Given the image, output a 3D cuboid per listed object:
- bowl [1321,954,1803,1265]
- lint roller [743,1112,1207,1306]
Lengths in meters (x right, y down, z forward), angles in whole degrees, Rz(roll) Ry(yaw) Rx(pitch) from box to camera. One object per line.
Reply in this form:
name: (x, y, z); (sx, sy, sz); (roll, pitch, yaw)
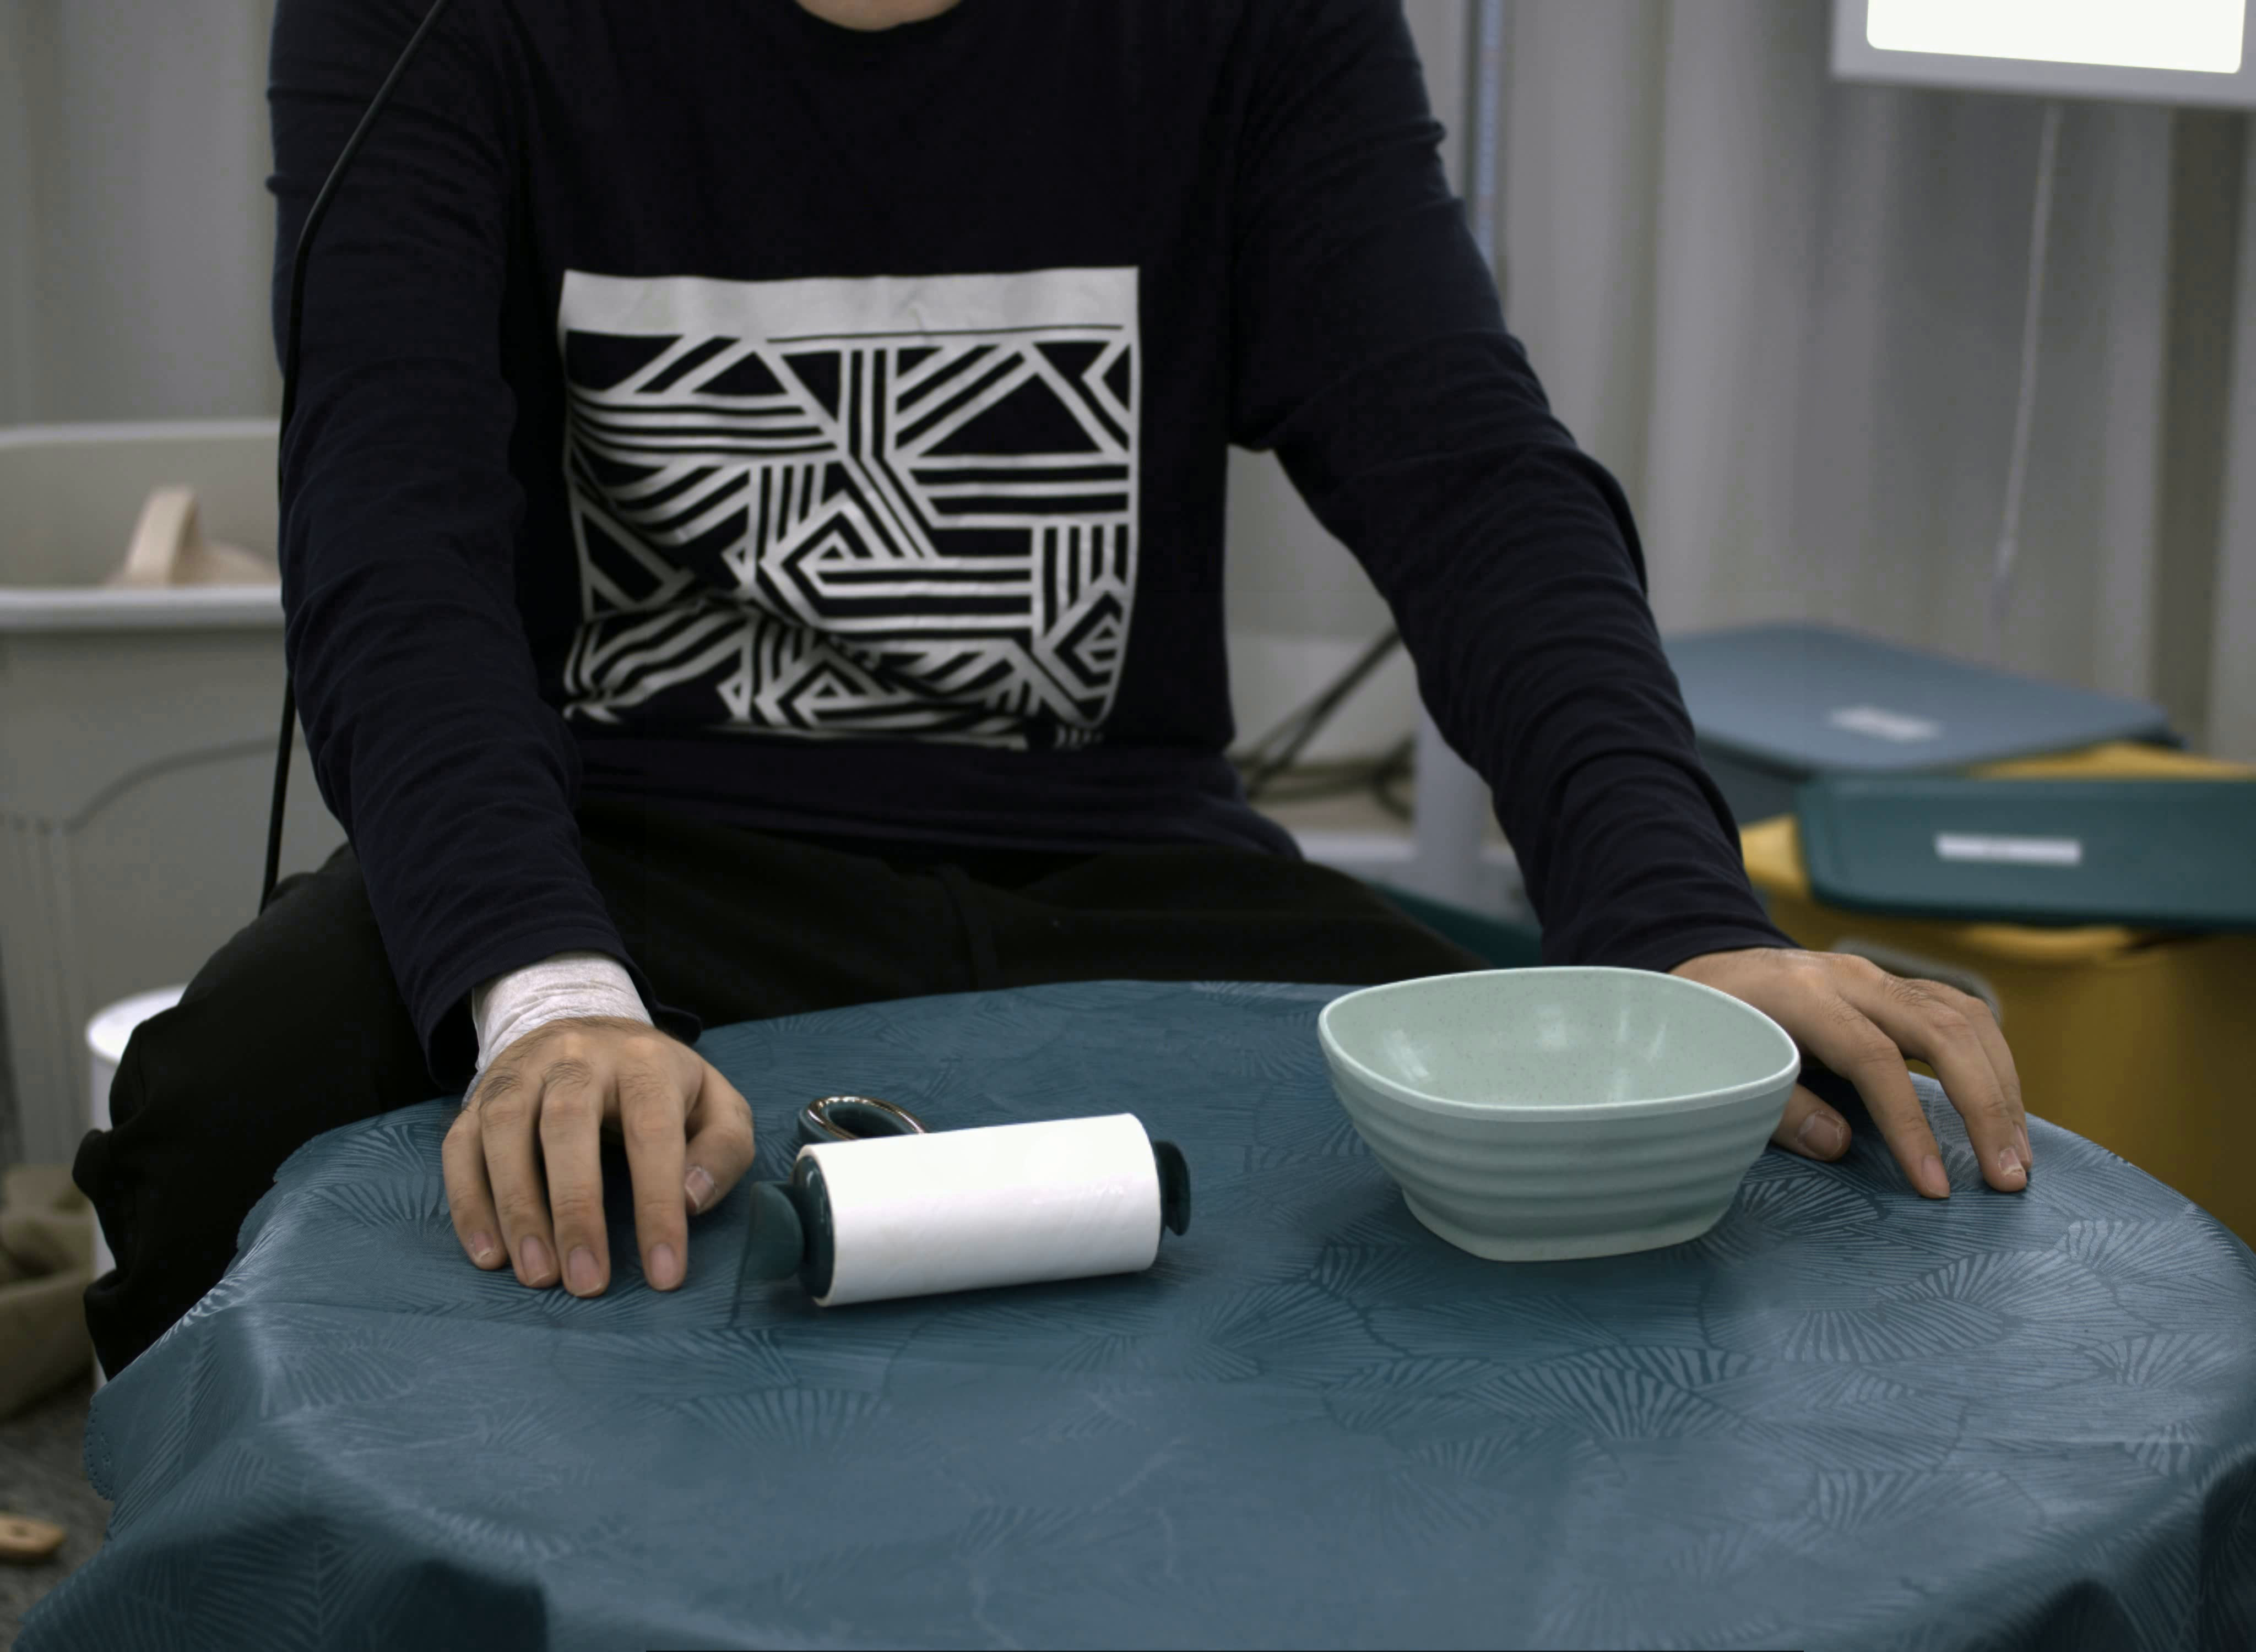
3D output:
bowl: (0.130, 0.090, 1.603); (0.151, 0.059, 0.150); (1, 18, 0)
lint roller: (-0.067, 0.099, 1.598); (0.134, 0.048, 0.178); (-5, 13, -19)
